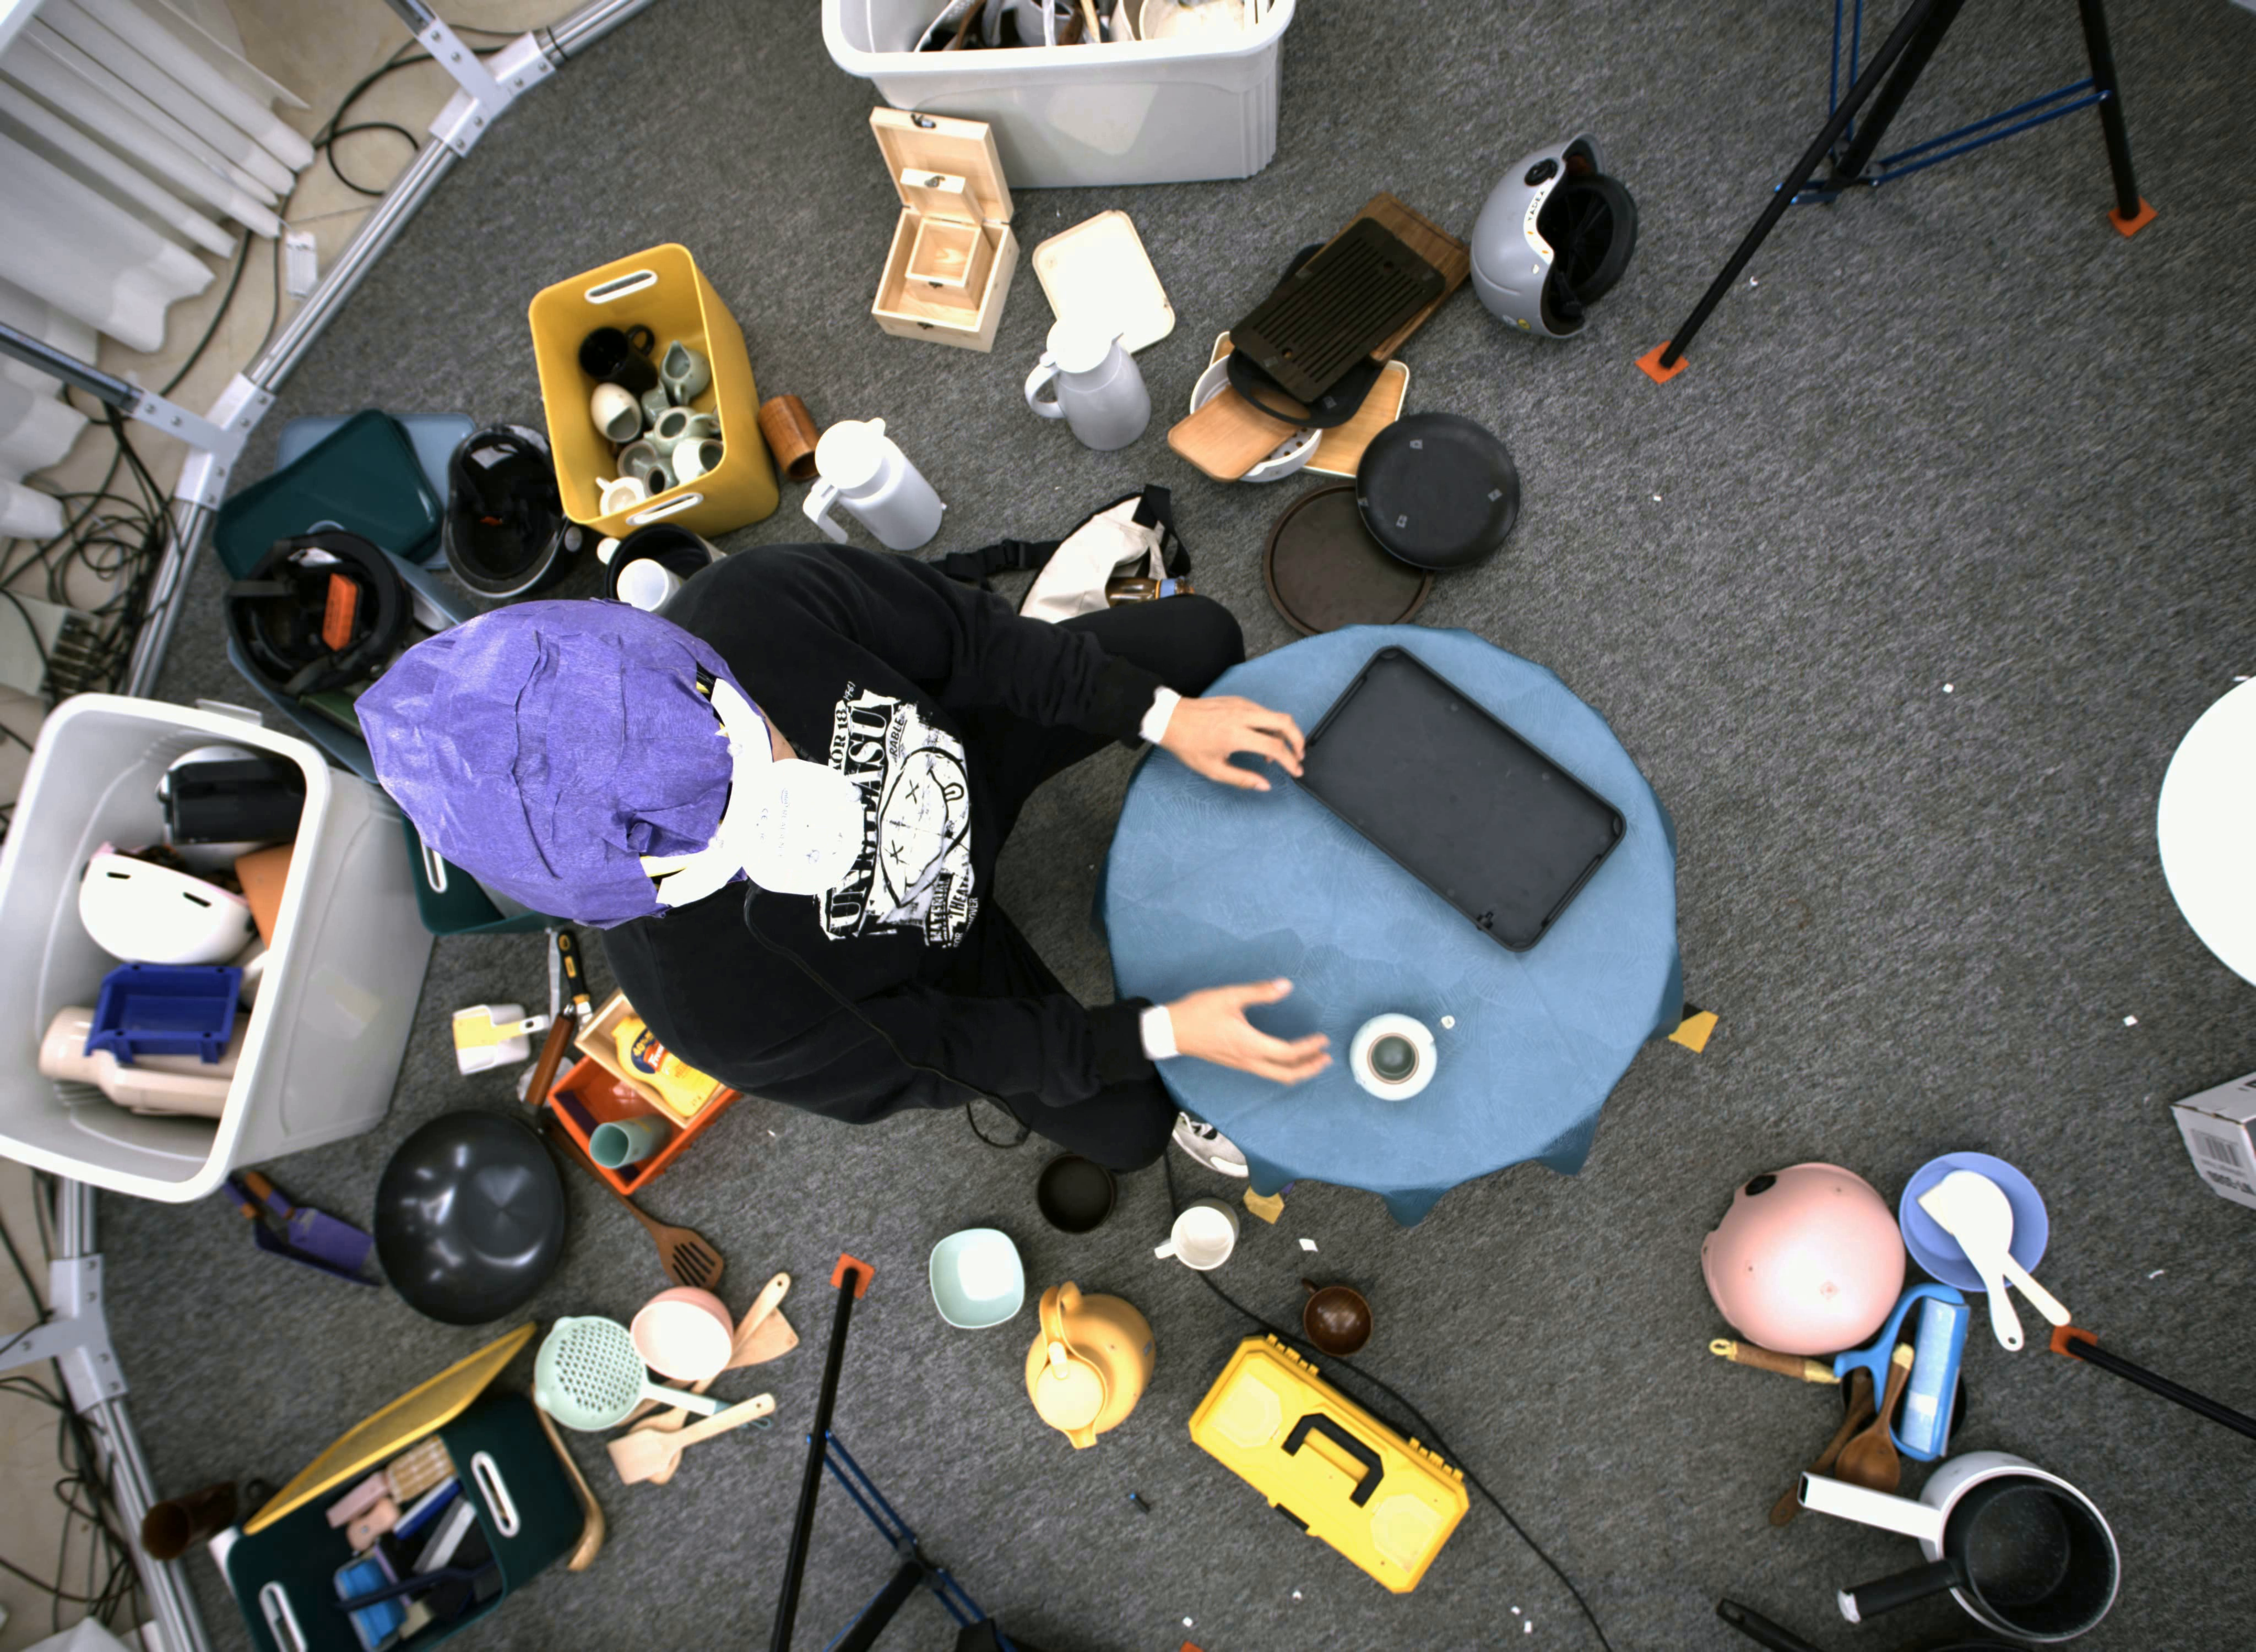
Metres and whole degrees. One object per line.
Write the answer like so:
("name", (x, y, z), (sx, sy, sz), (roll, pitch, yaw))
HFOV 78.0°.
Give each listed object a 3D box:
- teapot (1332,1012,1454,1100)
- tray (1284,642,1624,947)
("teapot", (0.270, 0.233, 1.417), (0.144, 0.075, 0.088), (-33, 81, 6))
("tray", (0.336, -0.036, 1.435), (0.317, 0.037, 0.185), (37, 95, 10))
